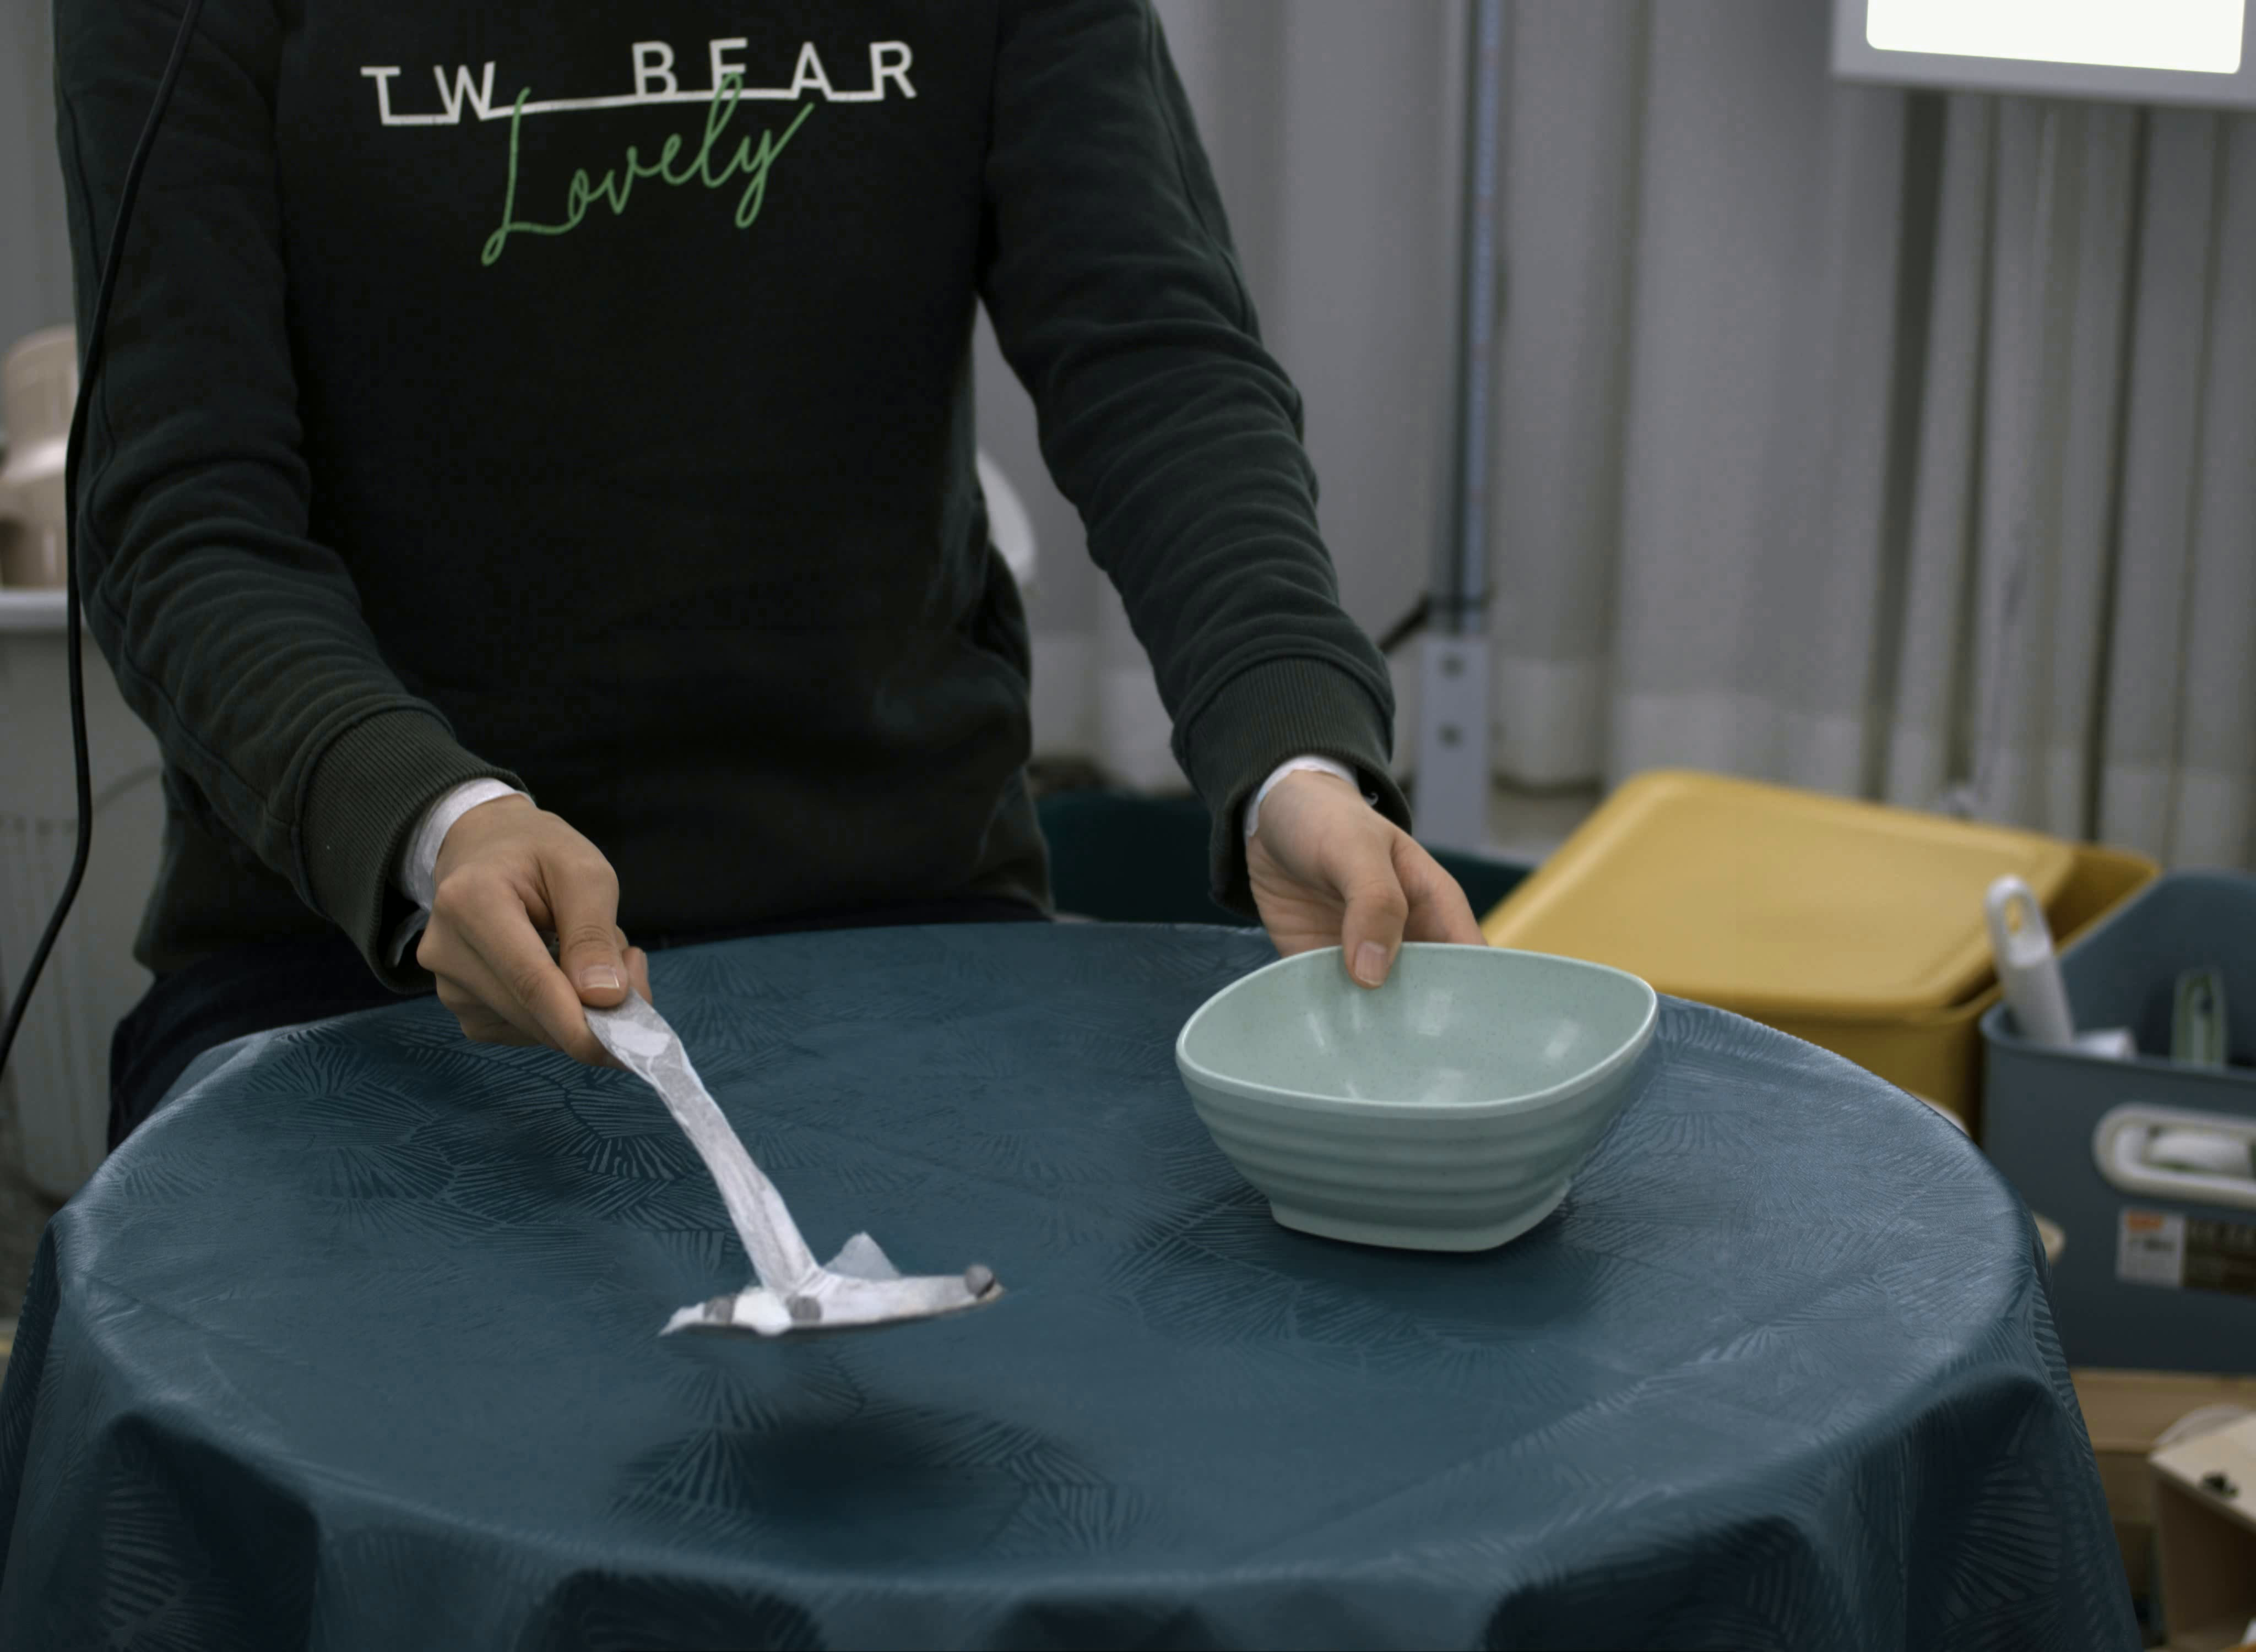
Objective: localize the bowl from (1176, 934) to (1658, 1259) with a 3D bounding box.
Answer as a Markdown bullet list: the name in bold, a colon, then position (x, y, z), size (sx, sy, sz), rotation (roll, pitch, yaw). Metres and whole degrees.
- **bowl**: position (0.088, 0.086, 1.602), size (0.151, 0.059, 0.150), rotation (-1, 20, 1)

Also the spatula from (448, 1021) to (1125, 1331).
- **spatula**: position (-0.123, 0.090, 1.504), size (0.099, 0.045, 0.360), rotation (6, 12, -31)
